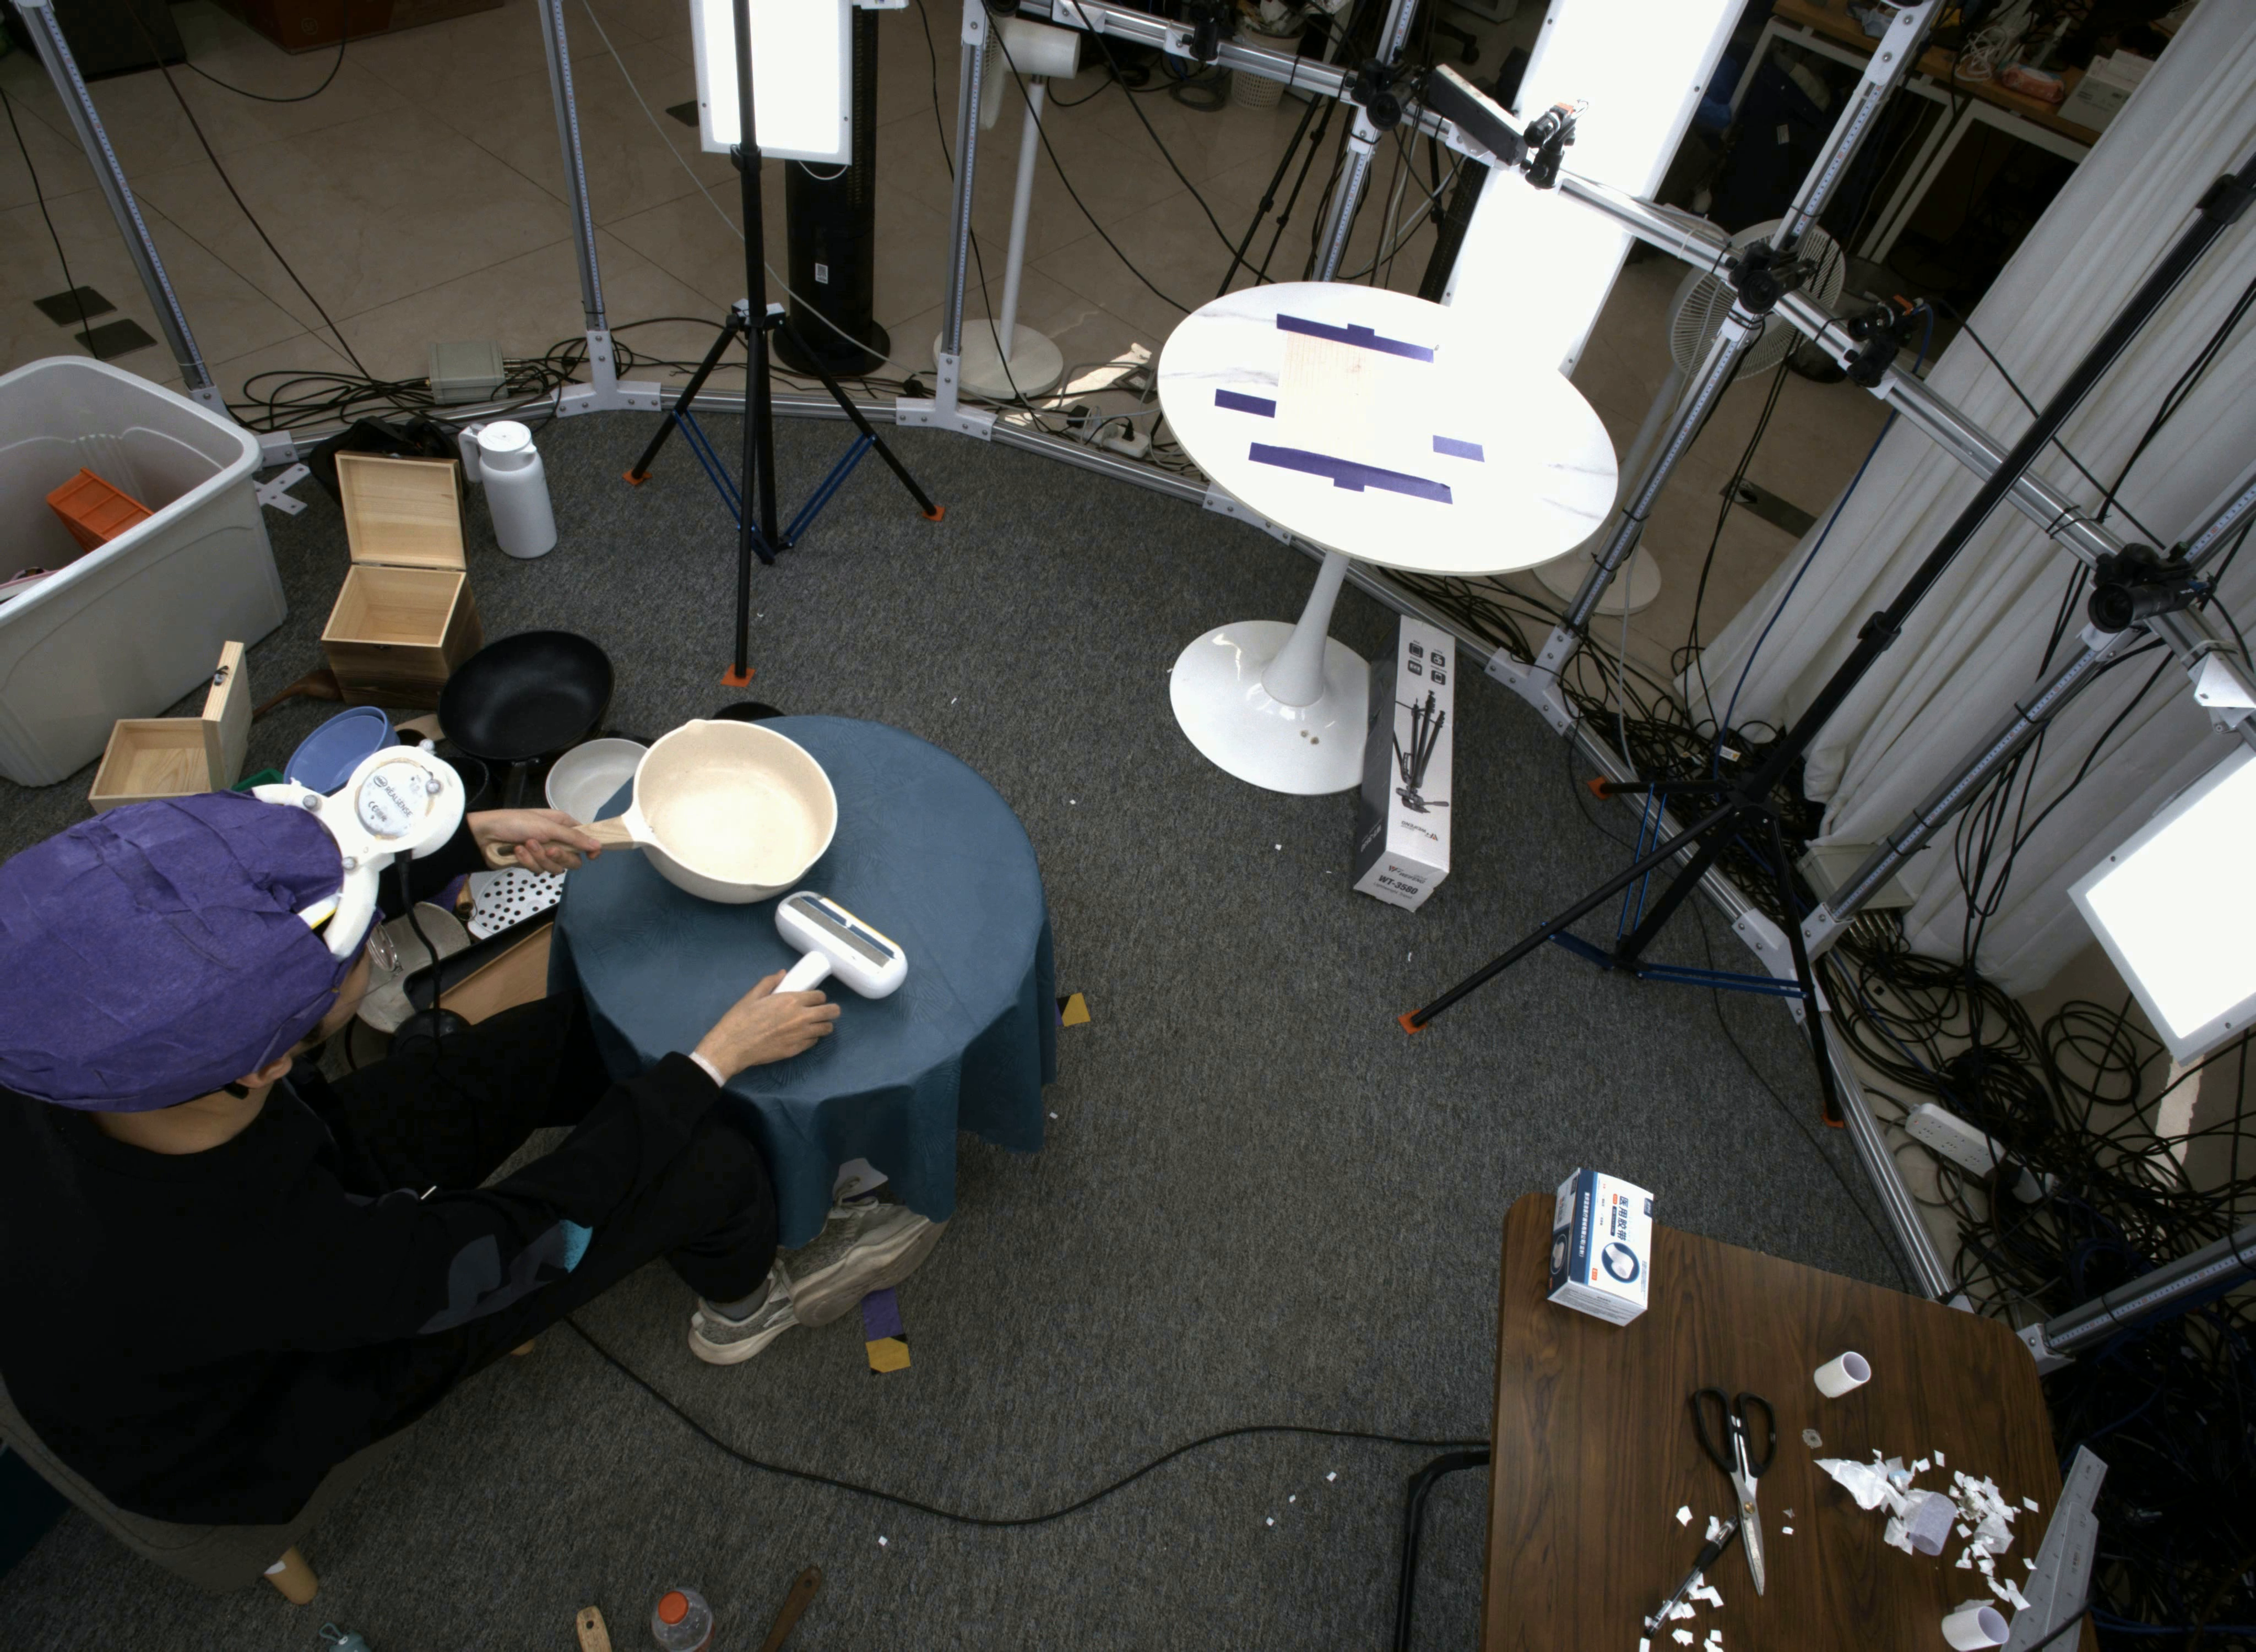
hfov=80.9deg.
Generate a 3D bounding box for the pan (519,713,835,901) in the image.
[{"bbox_3d":[-0.569,0.003,1.577,0.439,0.102,0.260,-21,71,-39],"label":"pan"}]

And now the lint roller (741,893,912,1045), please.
[{"bbox_3d":[-0.384,0.181,1.560,0.187,0.076,0.192,35,53,22],"label":"lint roller"}]
